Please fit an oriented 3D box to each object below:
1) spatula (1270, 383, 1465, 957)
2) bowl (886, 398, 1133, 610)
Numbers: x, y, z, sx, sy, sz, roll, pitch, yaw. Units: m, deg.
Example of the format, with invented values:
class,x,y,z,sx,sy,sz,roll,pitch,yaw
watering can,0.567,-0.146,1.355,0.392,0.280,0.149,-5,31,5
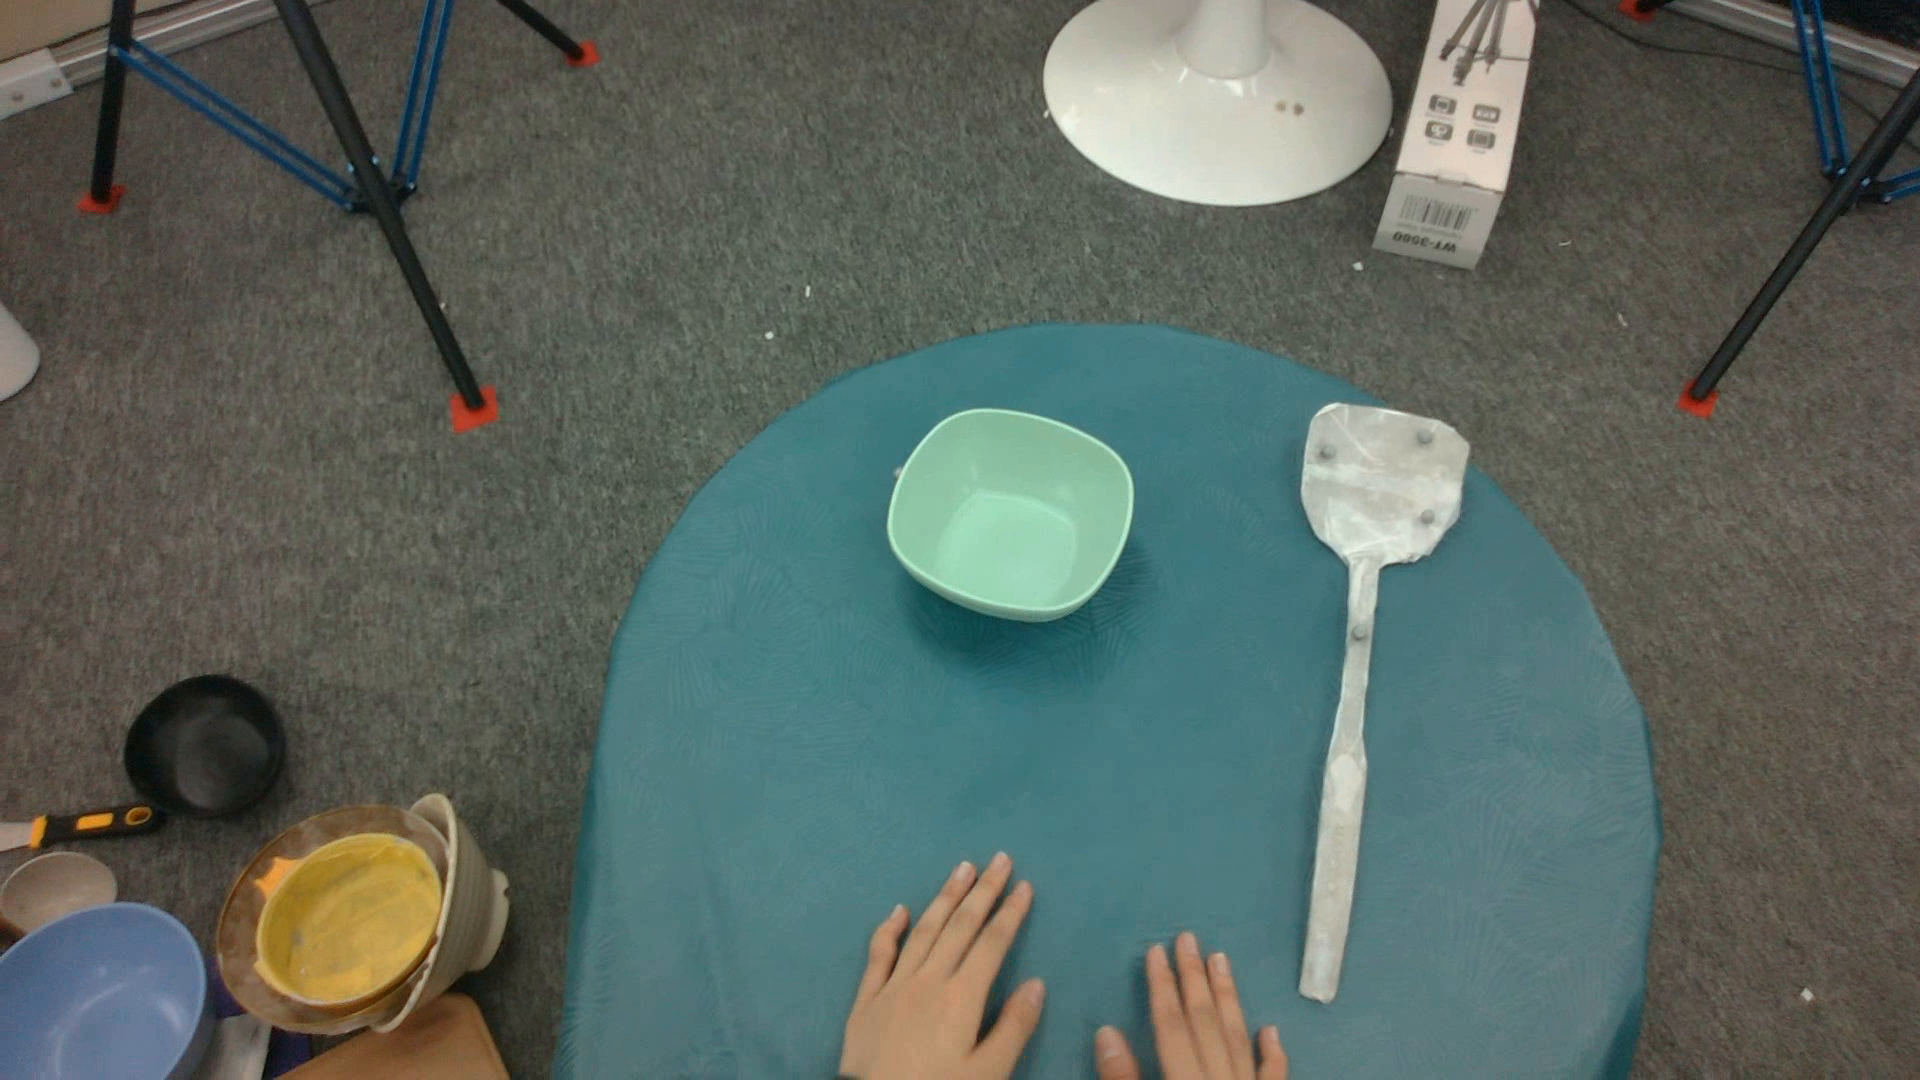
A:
class,x,y,z,sx,sy,sz,roll,pitch,yaw
spatula,0.223,0.062,0.791,0.098,0.044,0.366,15,57,6
bowl,0.030,-0.012,0.825,0.151,0.058,0.152,0,56,0
